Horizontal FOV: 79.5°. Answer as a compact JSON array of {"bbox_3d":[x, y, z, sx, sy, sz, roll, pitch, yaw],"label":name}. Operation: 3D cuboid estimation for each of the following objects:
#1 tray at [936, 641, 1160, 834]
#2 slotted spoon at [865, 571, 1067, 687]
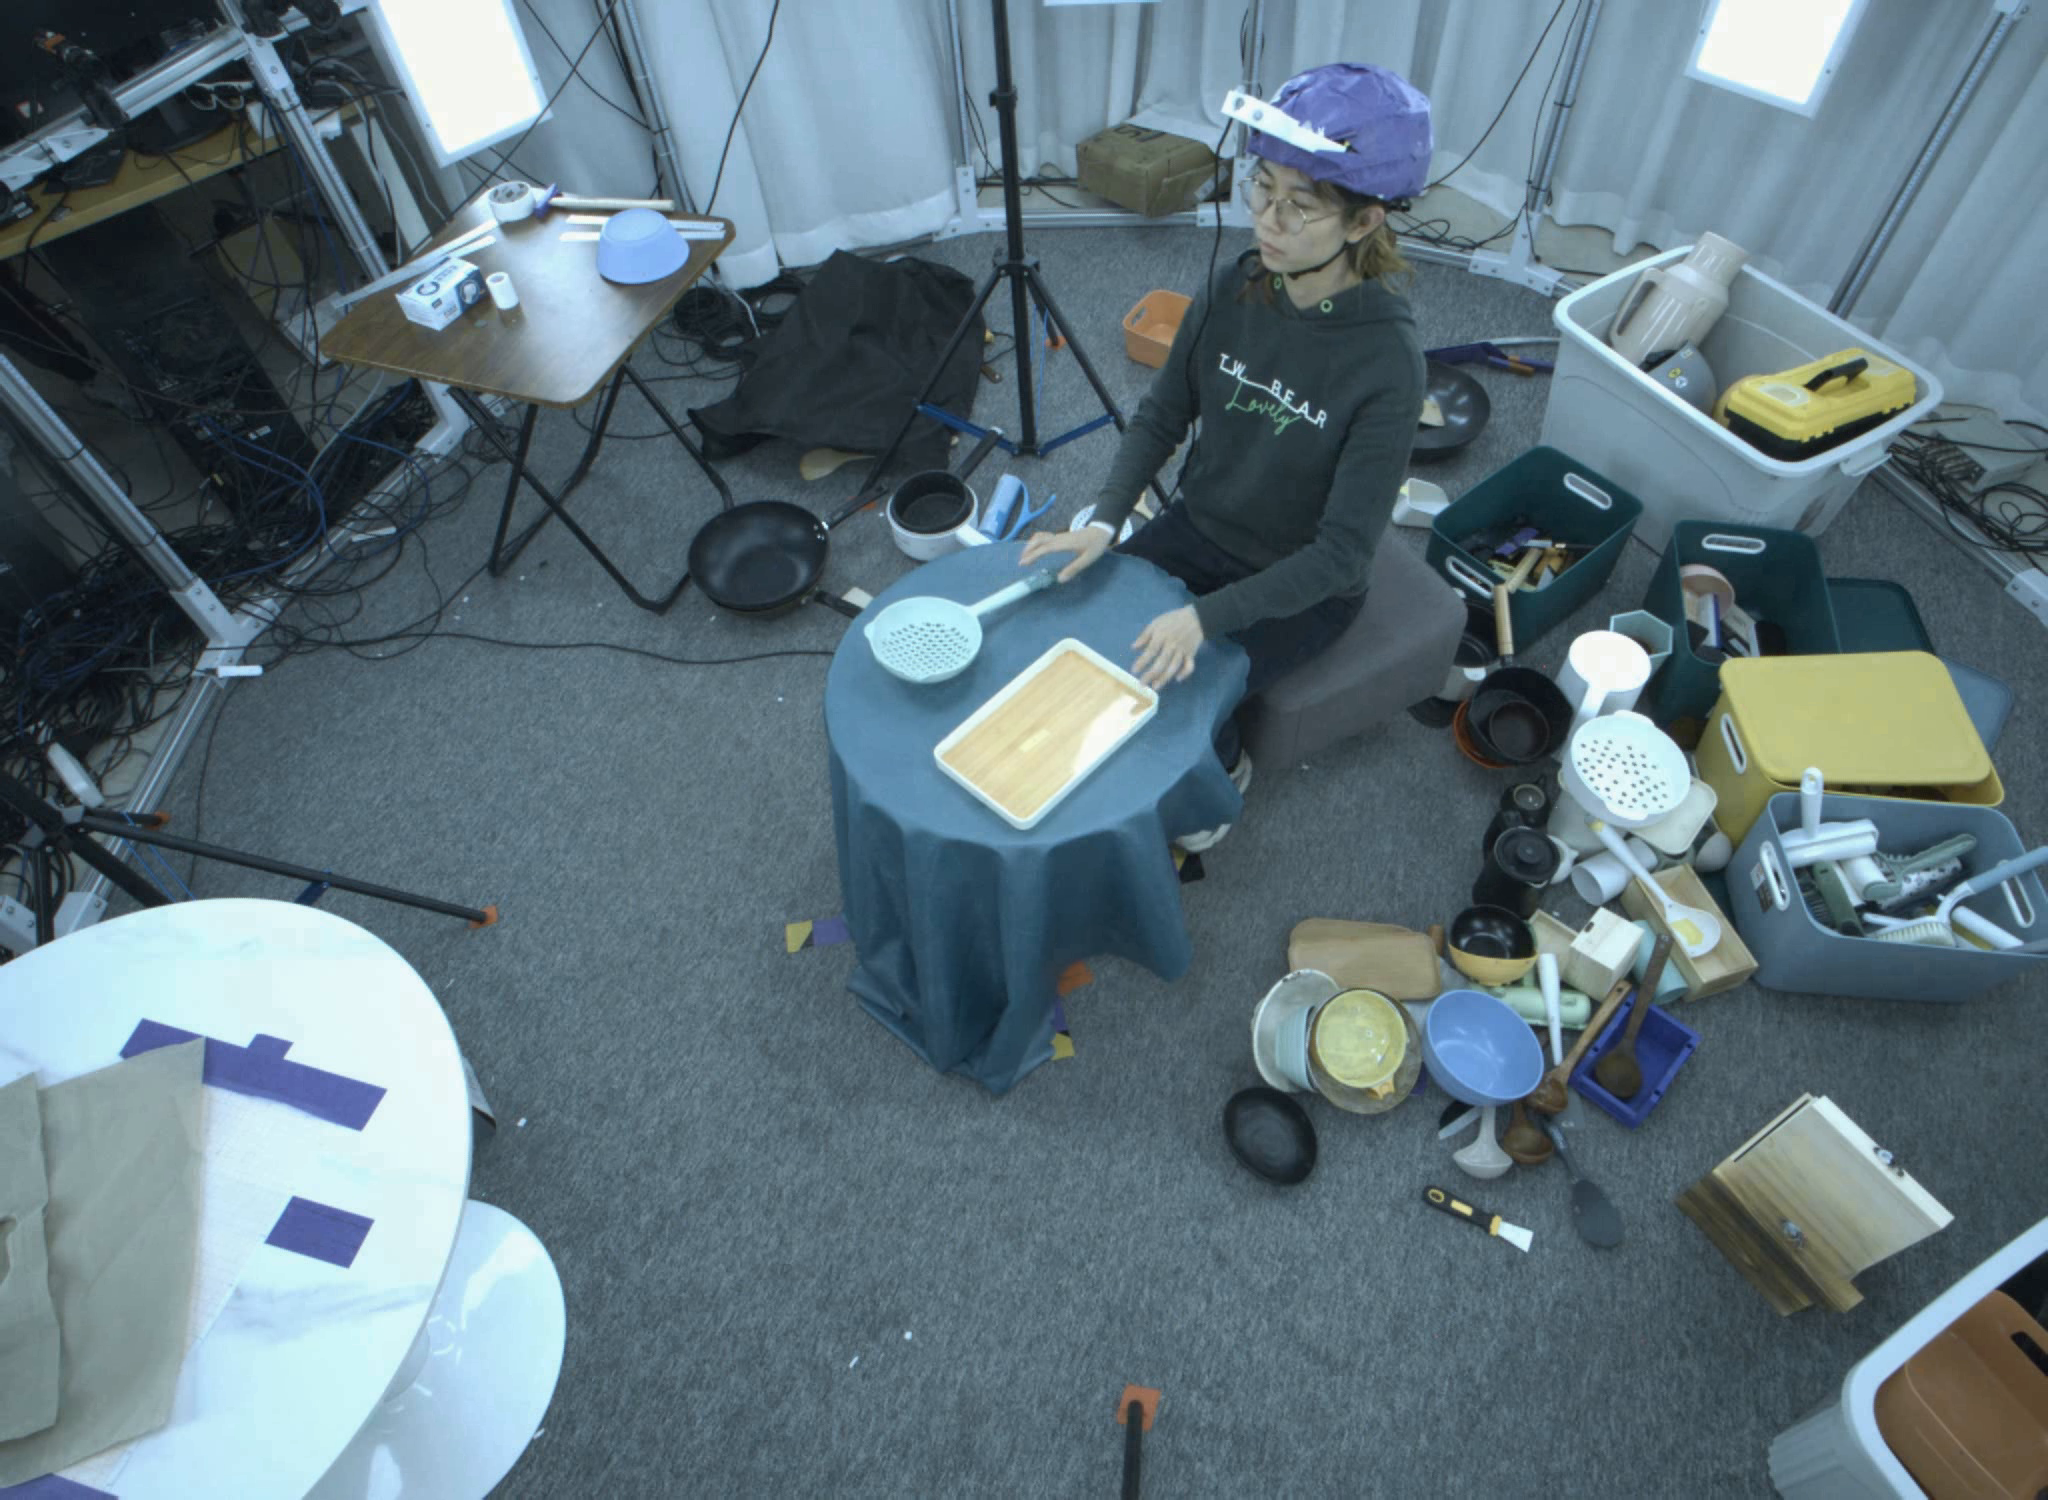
[{"bbox_3d":[0.037,-0.024,1.797,0.188,0.028,0.302,37,64,24],"label":"tray"},{"bbox_3d":[-0.073,-0.207,1.906,0.361,0.076,0.166,-36,62,-21],"label":"slotted spoon"}]
